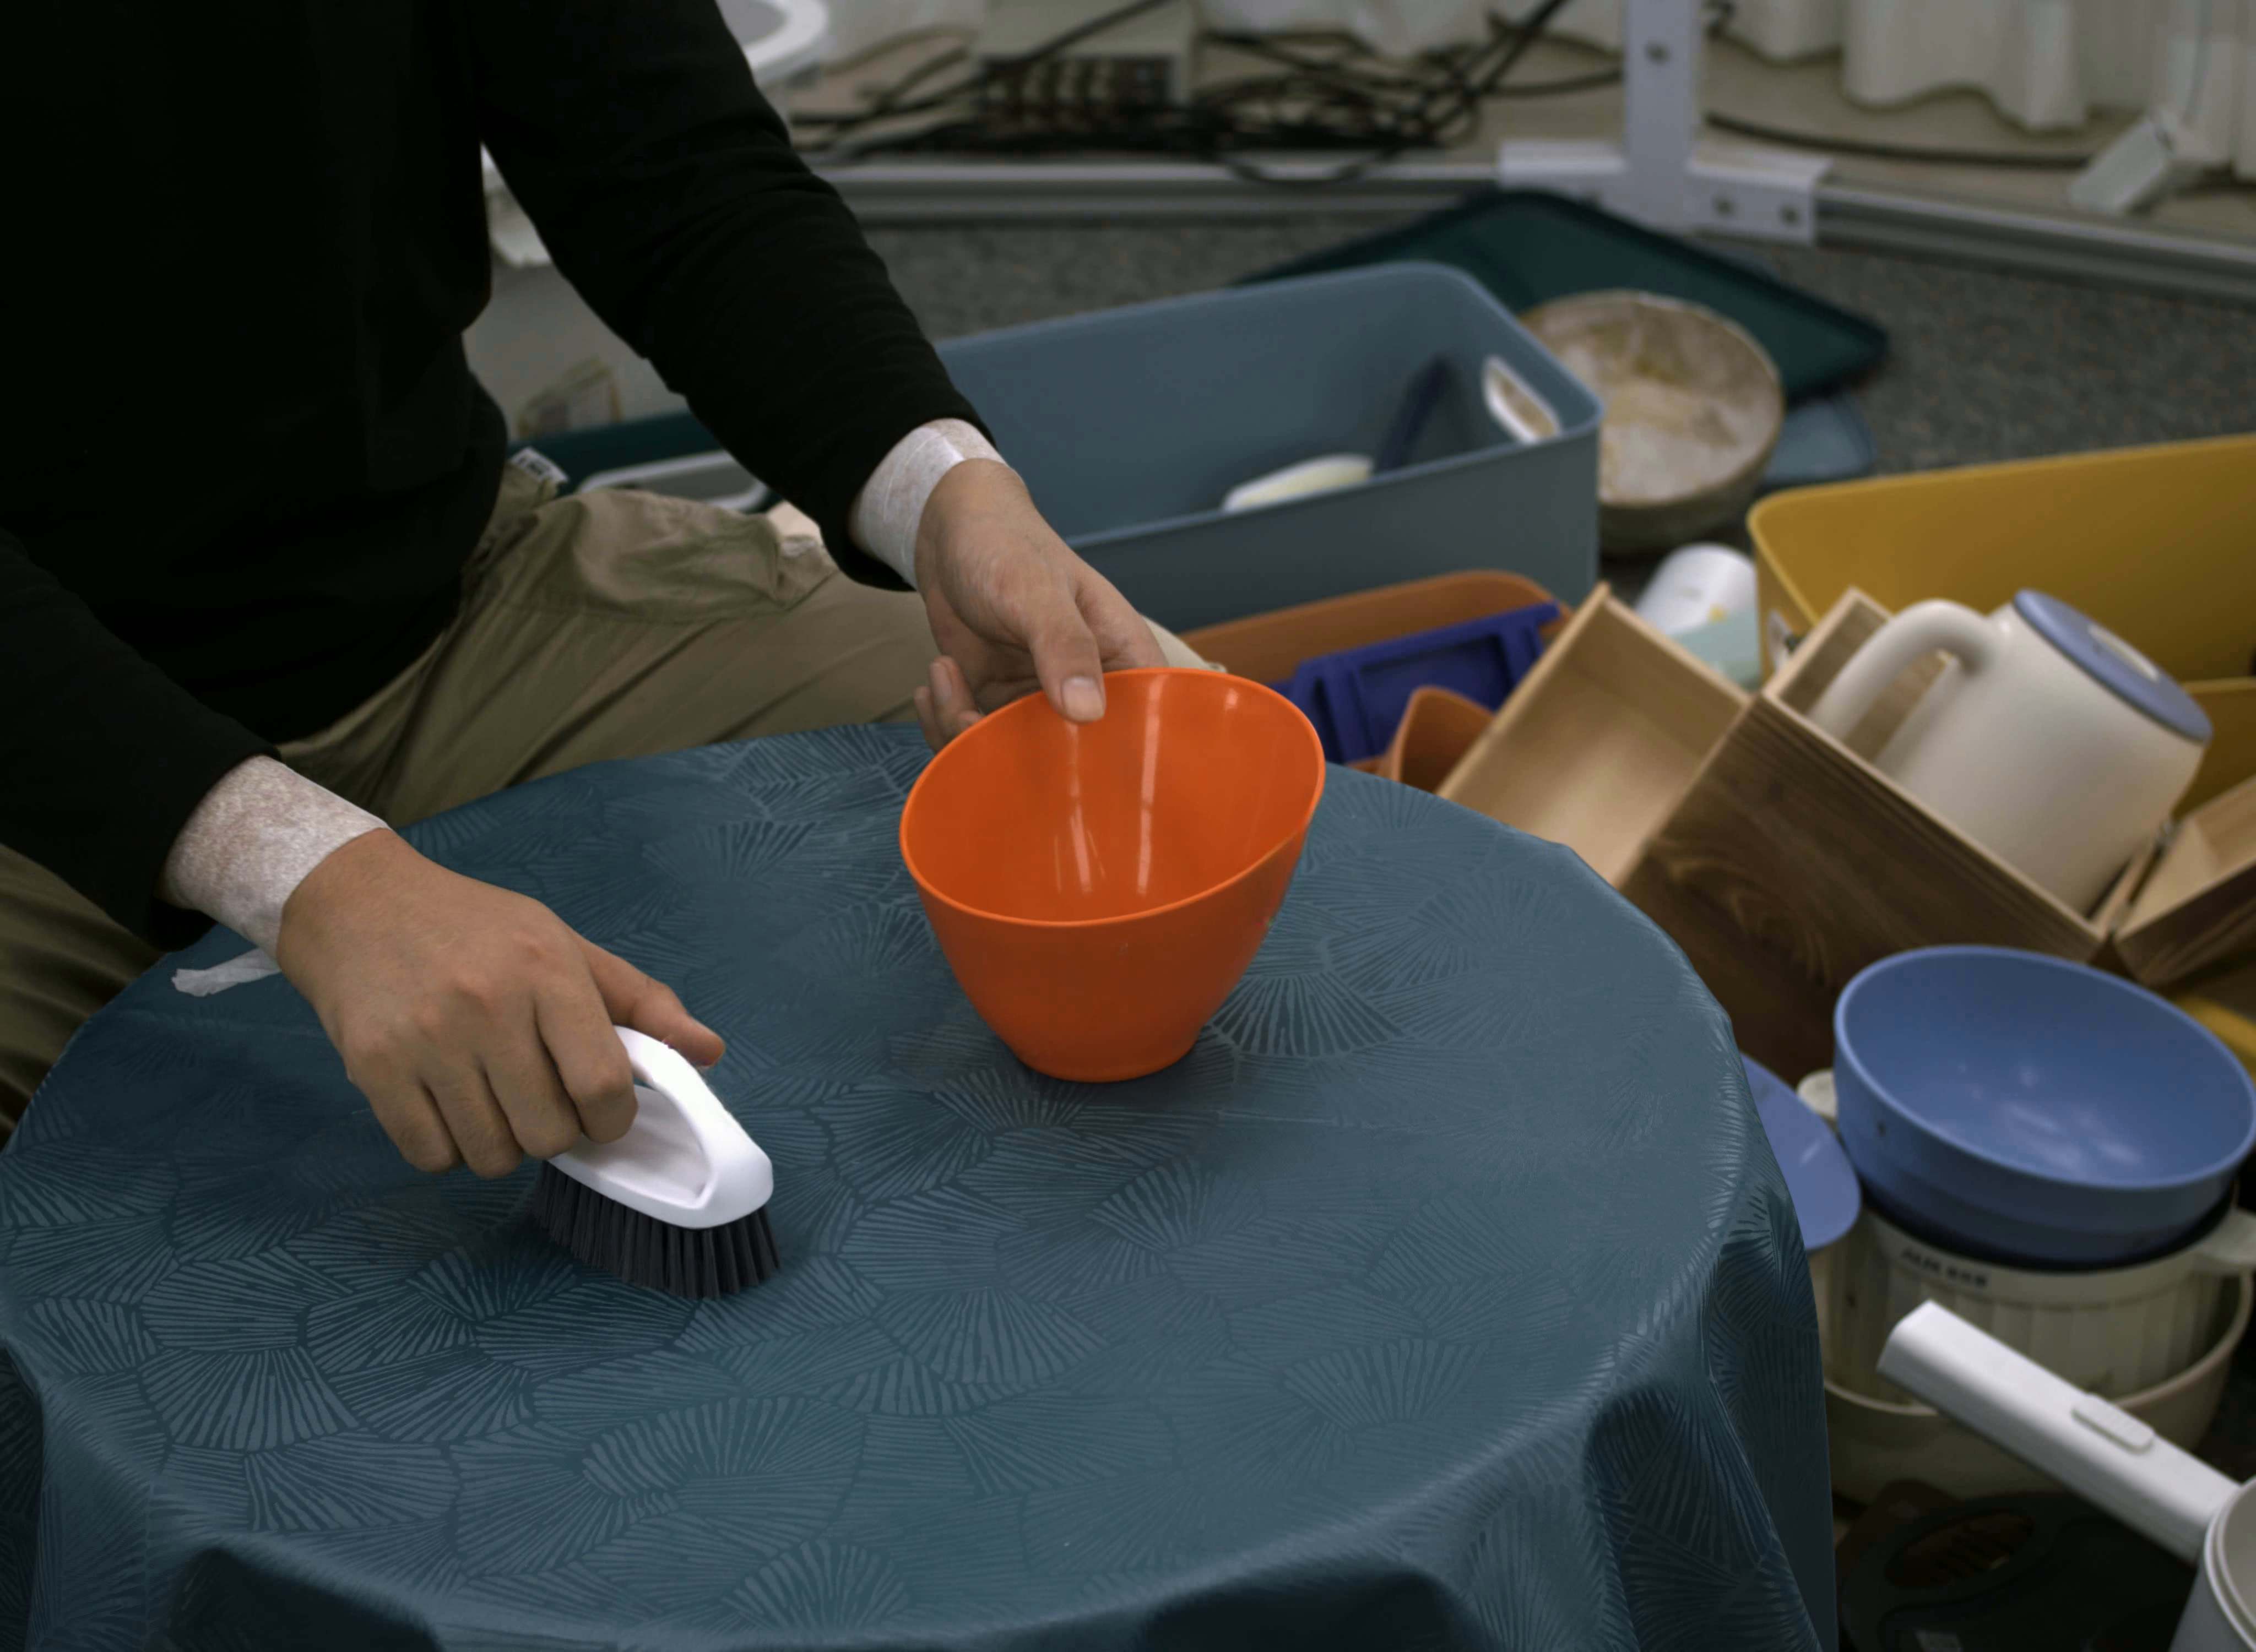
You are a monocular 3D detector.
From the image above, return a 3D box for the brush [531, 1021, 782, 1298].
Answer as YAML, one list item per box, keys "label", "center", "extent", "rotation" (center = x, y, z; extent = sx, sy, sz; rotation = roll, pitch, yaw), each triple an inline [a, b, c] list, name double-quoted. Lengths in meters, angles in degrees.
- label: "brush"
  center: [-0.157, 0.102, 1.835]
  extent: [0.051, 0.072, 0.099]
  rotation: [-25, 34, -35]

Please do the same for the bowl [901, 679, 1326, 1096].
- label: "bowl"
  center: [-0.002, 0.028, 1.938]
  extent: [0.147, 0.103, 0.150]
  rotation: [-4, 27, 2]
